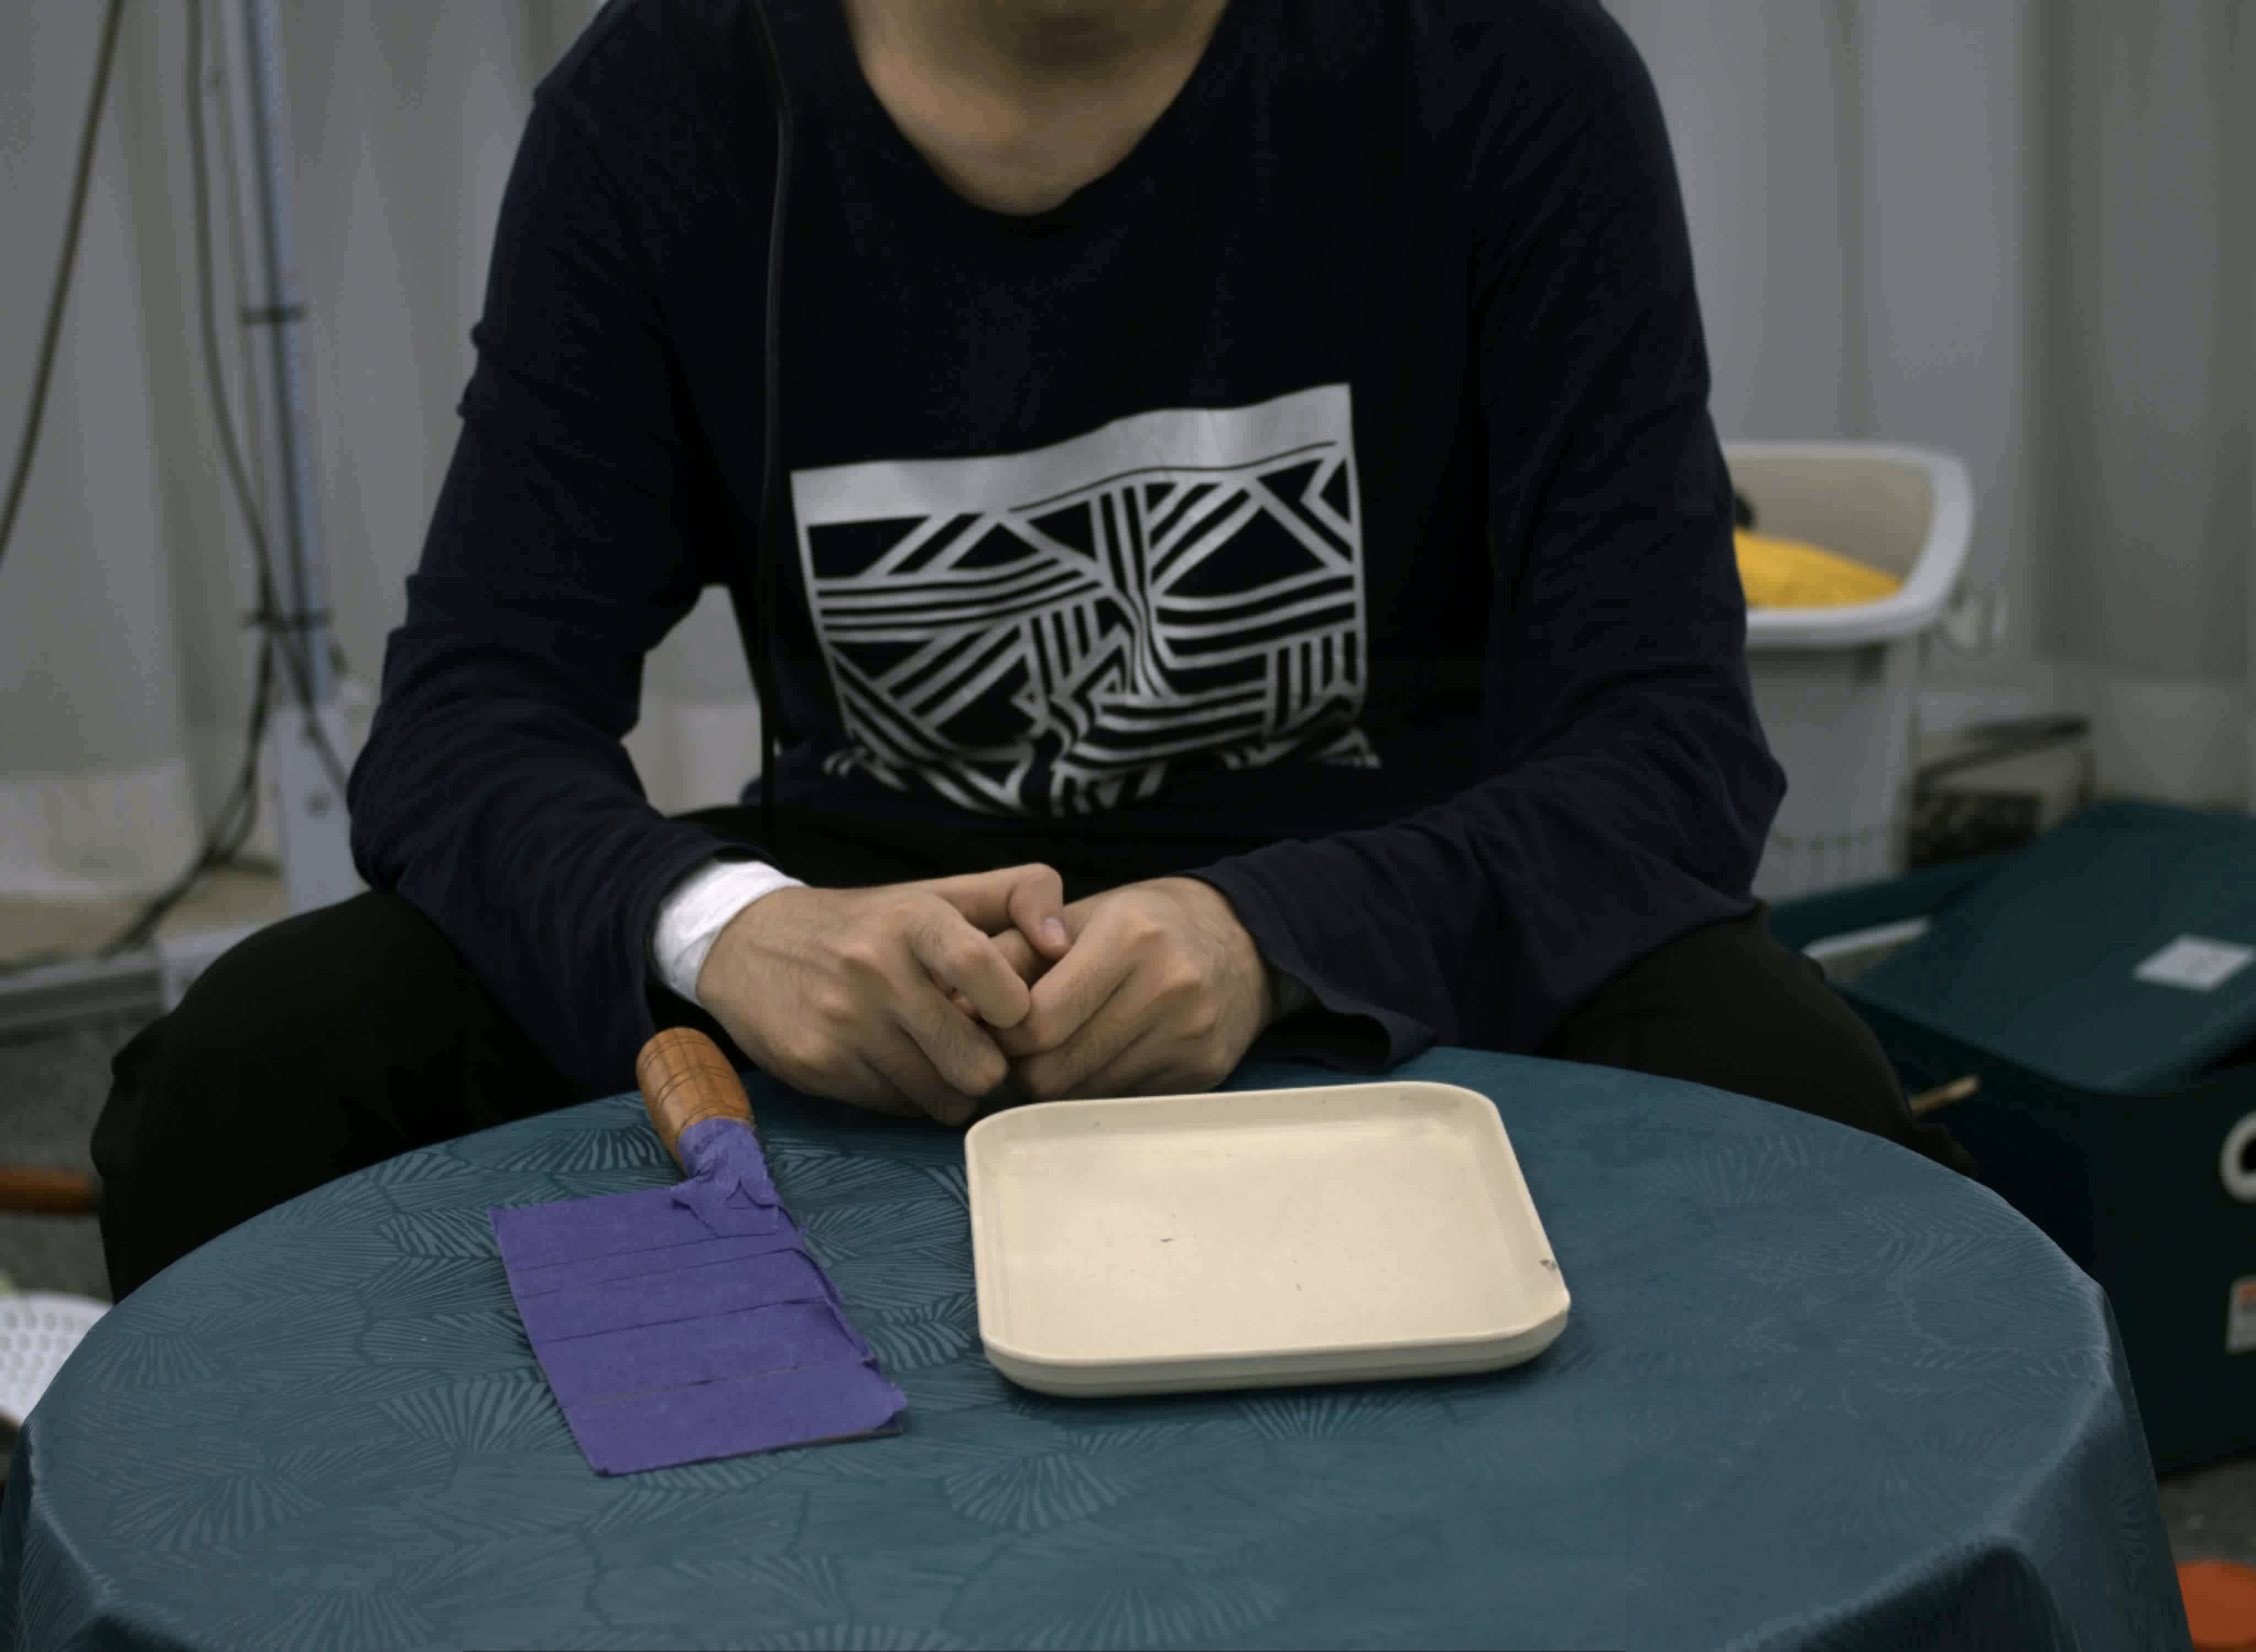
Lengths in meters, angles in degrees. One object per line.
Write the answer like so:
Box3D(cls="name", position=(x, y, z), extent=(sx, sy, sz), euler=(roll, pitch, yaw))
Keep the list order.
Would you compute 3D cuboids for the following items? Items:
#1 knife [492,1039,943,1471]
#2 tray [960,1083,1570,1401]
Box3D(cls="knife", position=(-0.141, 0.125, 1.652), extent=(0.103, 0.032, 0.318), euler=(-6, 16, -14))
Box3D(cls="tray", position=(0.037, 0.124, 1.643), extent=(0.170, 0.017, 0.241), euler=(-4, 15, -2))
